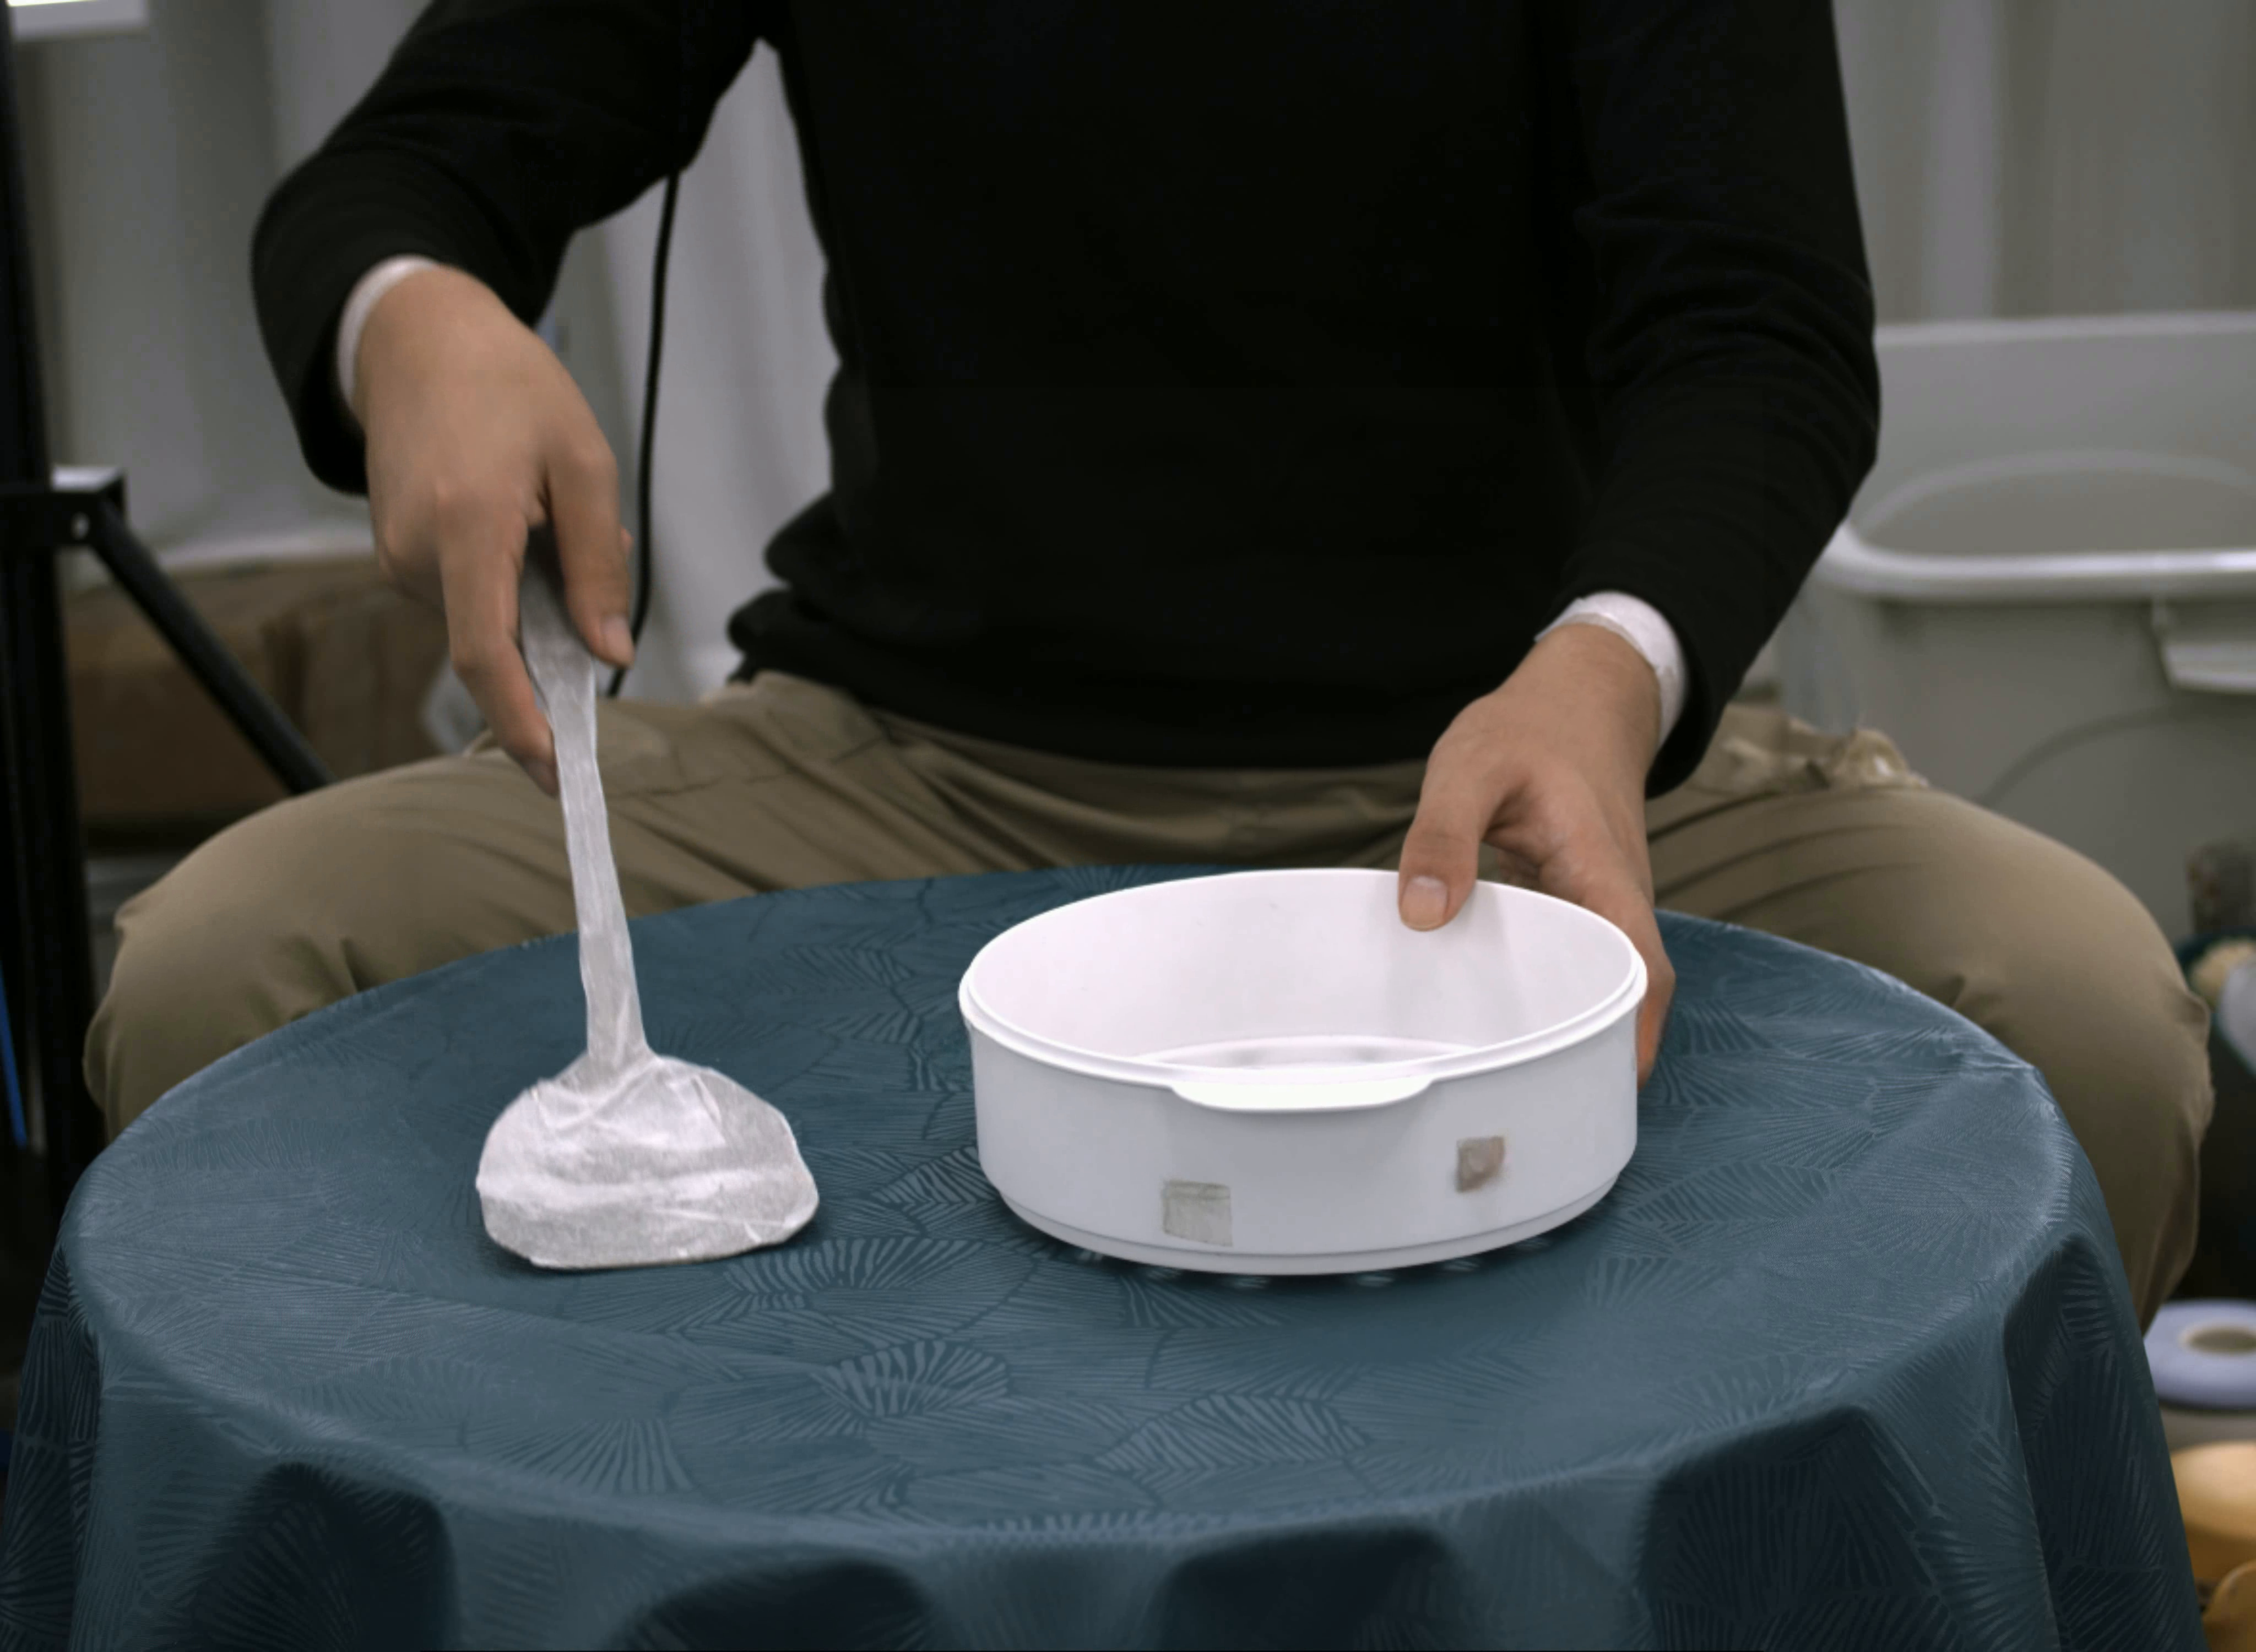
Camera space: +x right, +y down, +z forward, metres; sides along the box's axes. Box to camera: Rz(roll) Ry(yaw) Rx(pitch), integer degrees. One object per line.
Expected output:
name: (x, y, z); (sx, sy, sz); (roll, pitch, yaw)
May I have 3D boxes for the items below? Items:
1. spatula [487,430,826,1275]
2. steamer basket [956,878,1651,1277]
spatula: (-0.162, -0.002, 1.639); (0.098, 0.044, 0.370); (-6, 51, -7)
steamer basket: (0.051, 0.073, 1.546); (0.201, 0.069, 0.231); (0, 15, 4)
